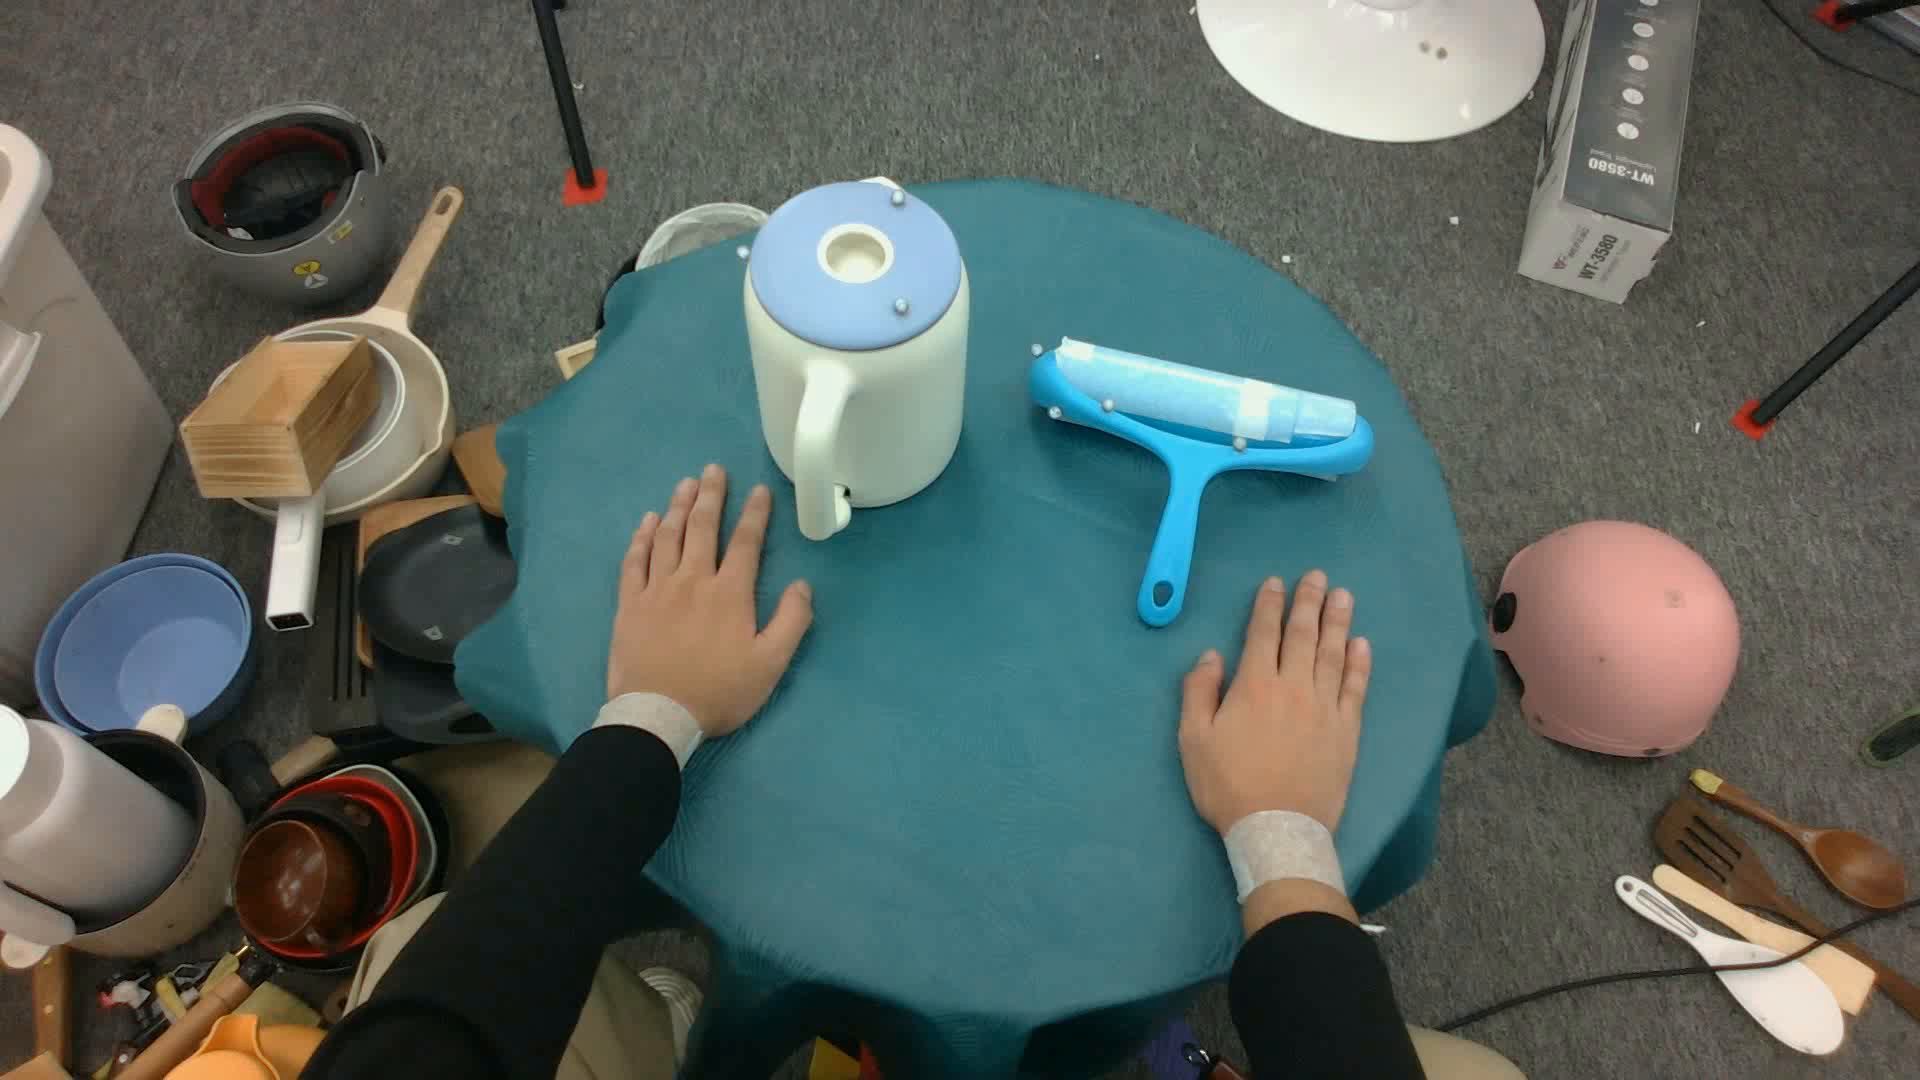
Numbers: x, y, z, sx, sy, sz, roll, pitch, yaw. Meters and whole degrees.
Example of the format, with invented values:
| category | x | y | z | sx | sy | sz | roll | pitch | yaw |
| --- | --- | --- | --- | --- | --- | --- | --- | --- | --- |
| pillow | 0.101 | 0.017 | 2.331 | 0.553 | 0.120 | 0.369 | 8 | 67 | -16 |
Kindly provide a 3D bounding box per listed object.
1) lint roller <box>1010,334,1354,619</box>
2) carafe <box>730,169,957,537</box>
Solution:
| category | x | y | z | sx | sy | sz | roll | pitch | yaw |
| --- | --- | --- | --- | --- | --- | --- | --- | --- | --- |
| lint roller | 0.134 | -0.040 | 0.872 | 0.229 | 0.067 | 0.181 | 13 | 57 | 0 |
| carafe | -0.074 | -0.098 | 0.828 | 0.132 | 0.182 | 0.192 | 9 | 63 | 3 |
